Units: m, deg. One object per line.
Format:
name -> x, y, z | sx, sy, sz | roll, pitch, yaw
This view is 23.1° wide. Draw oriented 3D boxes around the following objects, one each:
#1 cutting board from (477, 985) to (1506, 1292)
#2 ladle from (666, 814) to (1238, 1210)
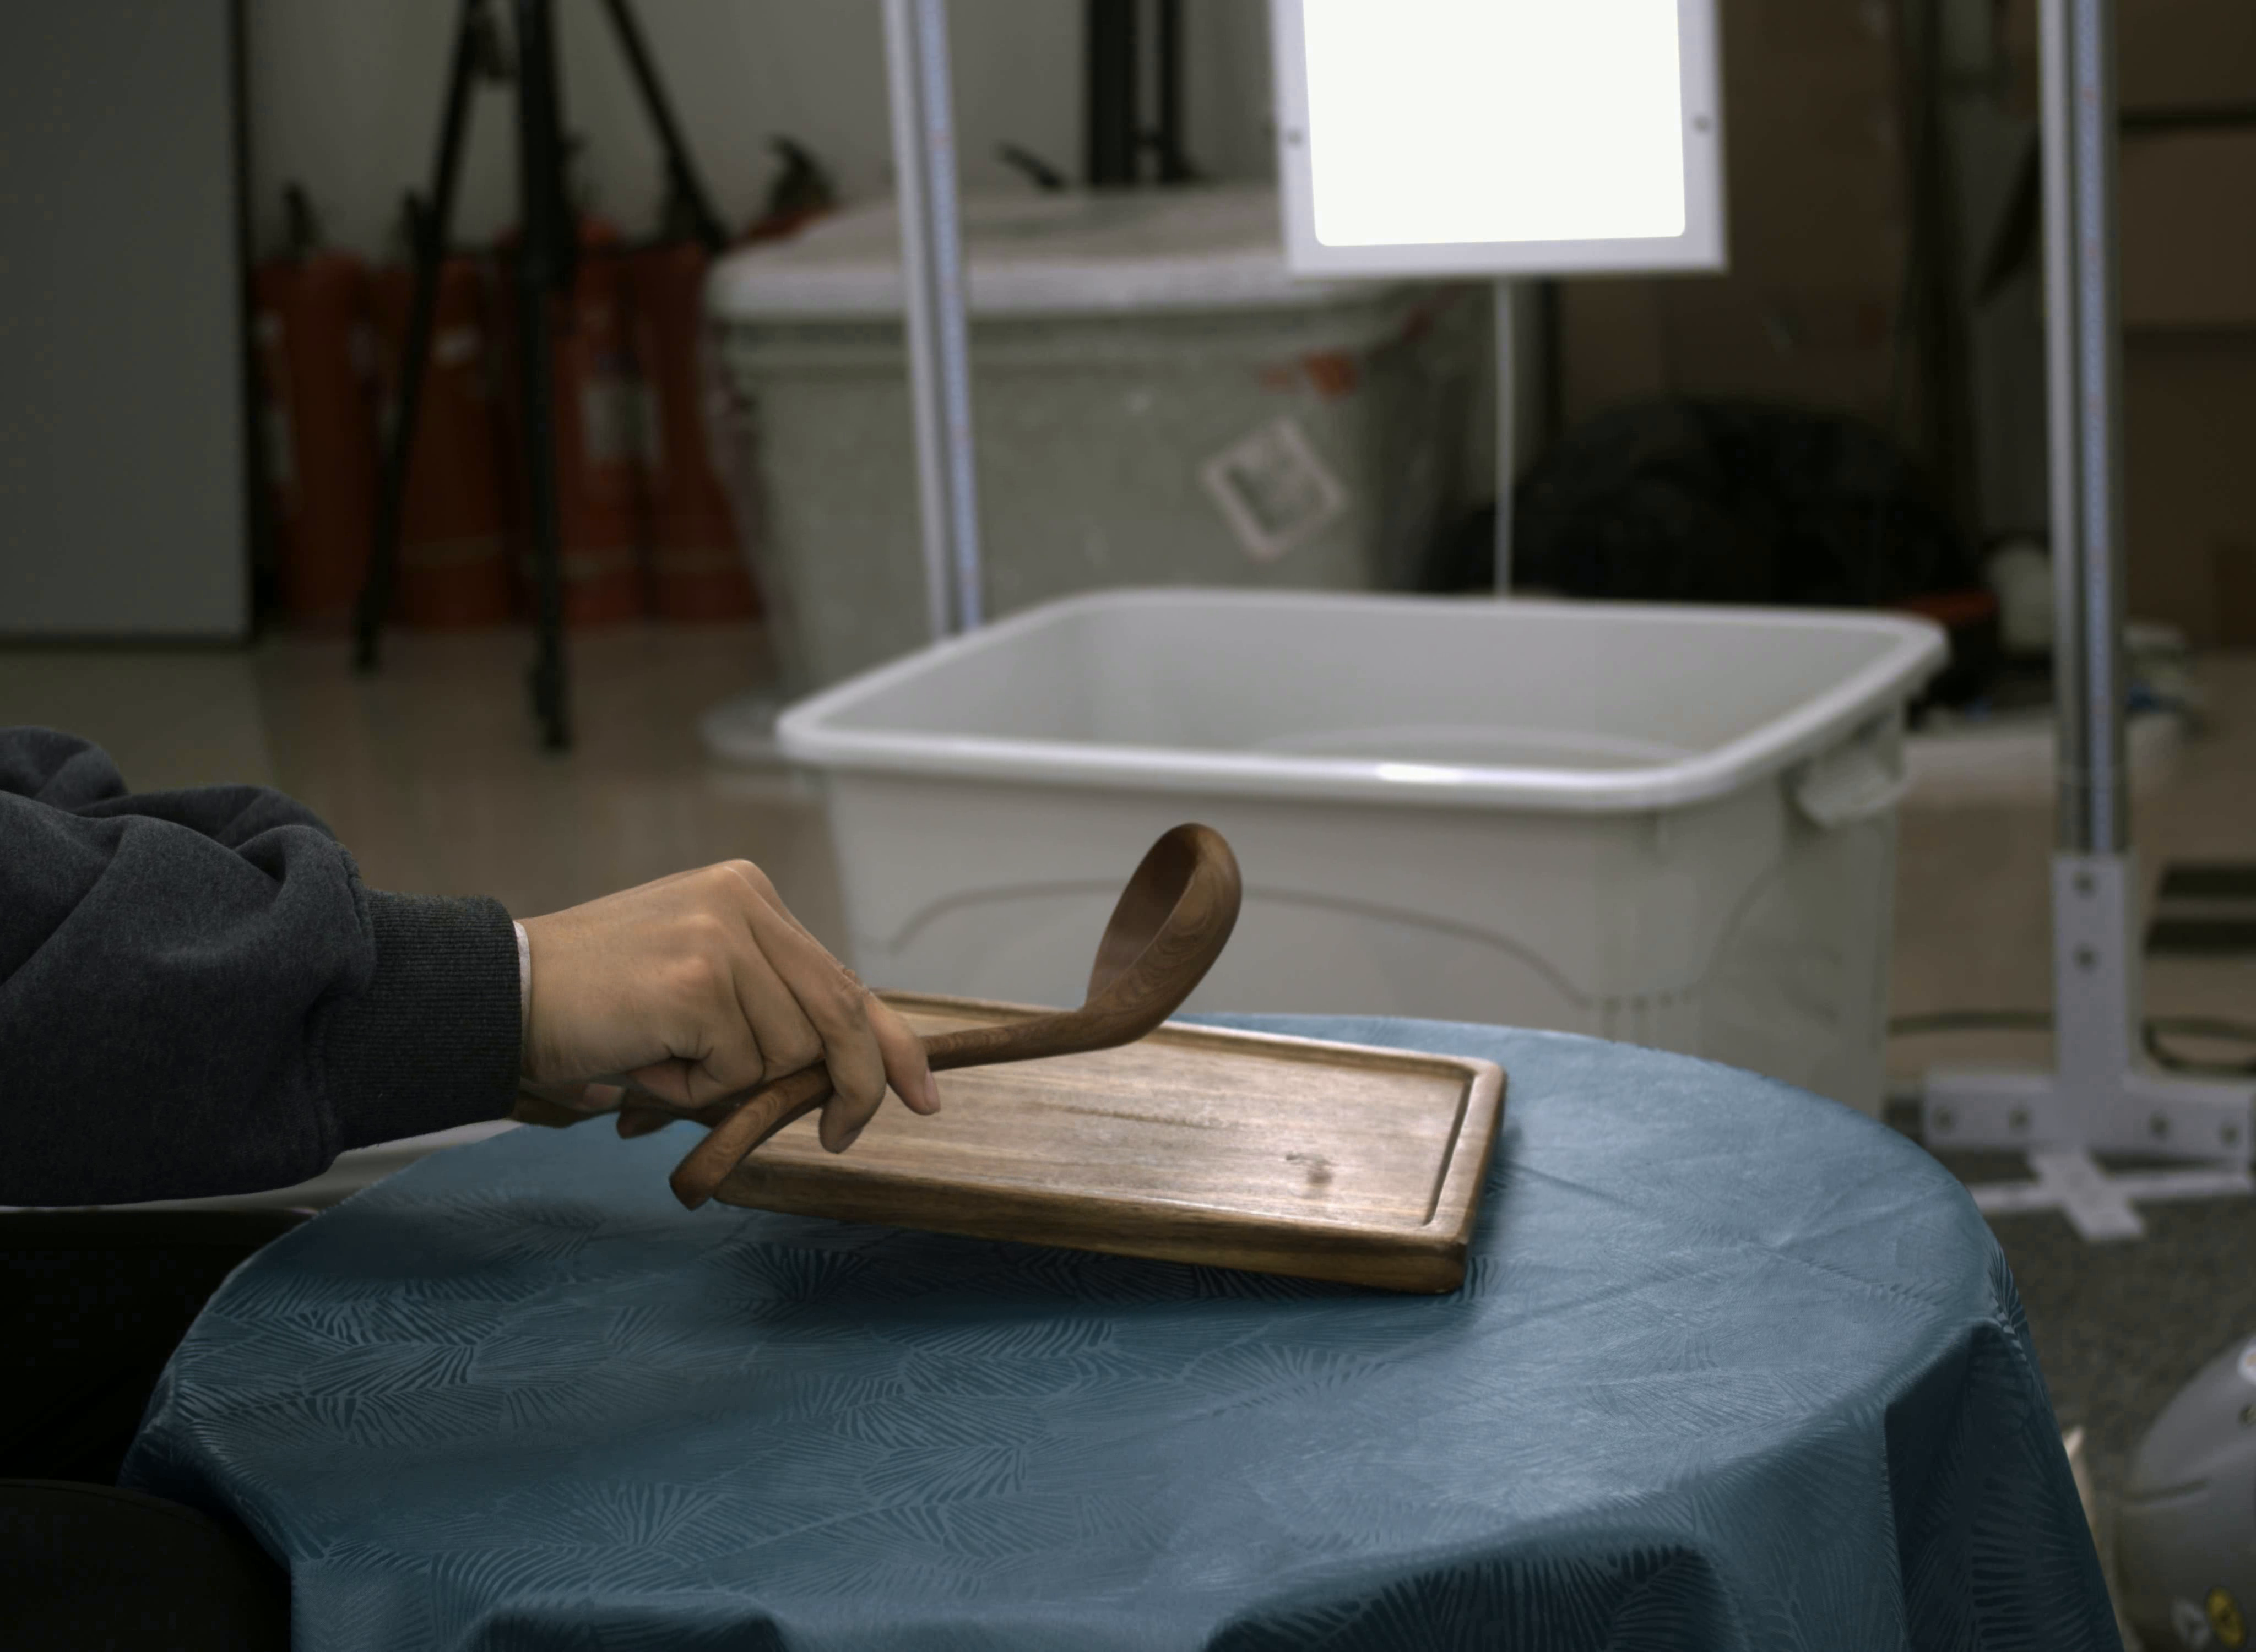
cutting board -> -0.049, 0.097, 1.876 | 0.353, 0.023, 0.199 | 7, 15, 8
ladle -> -0.060, 0.059, 1.760 | 0.253, 0.078, 0.065 | -19, 63, -39
